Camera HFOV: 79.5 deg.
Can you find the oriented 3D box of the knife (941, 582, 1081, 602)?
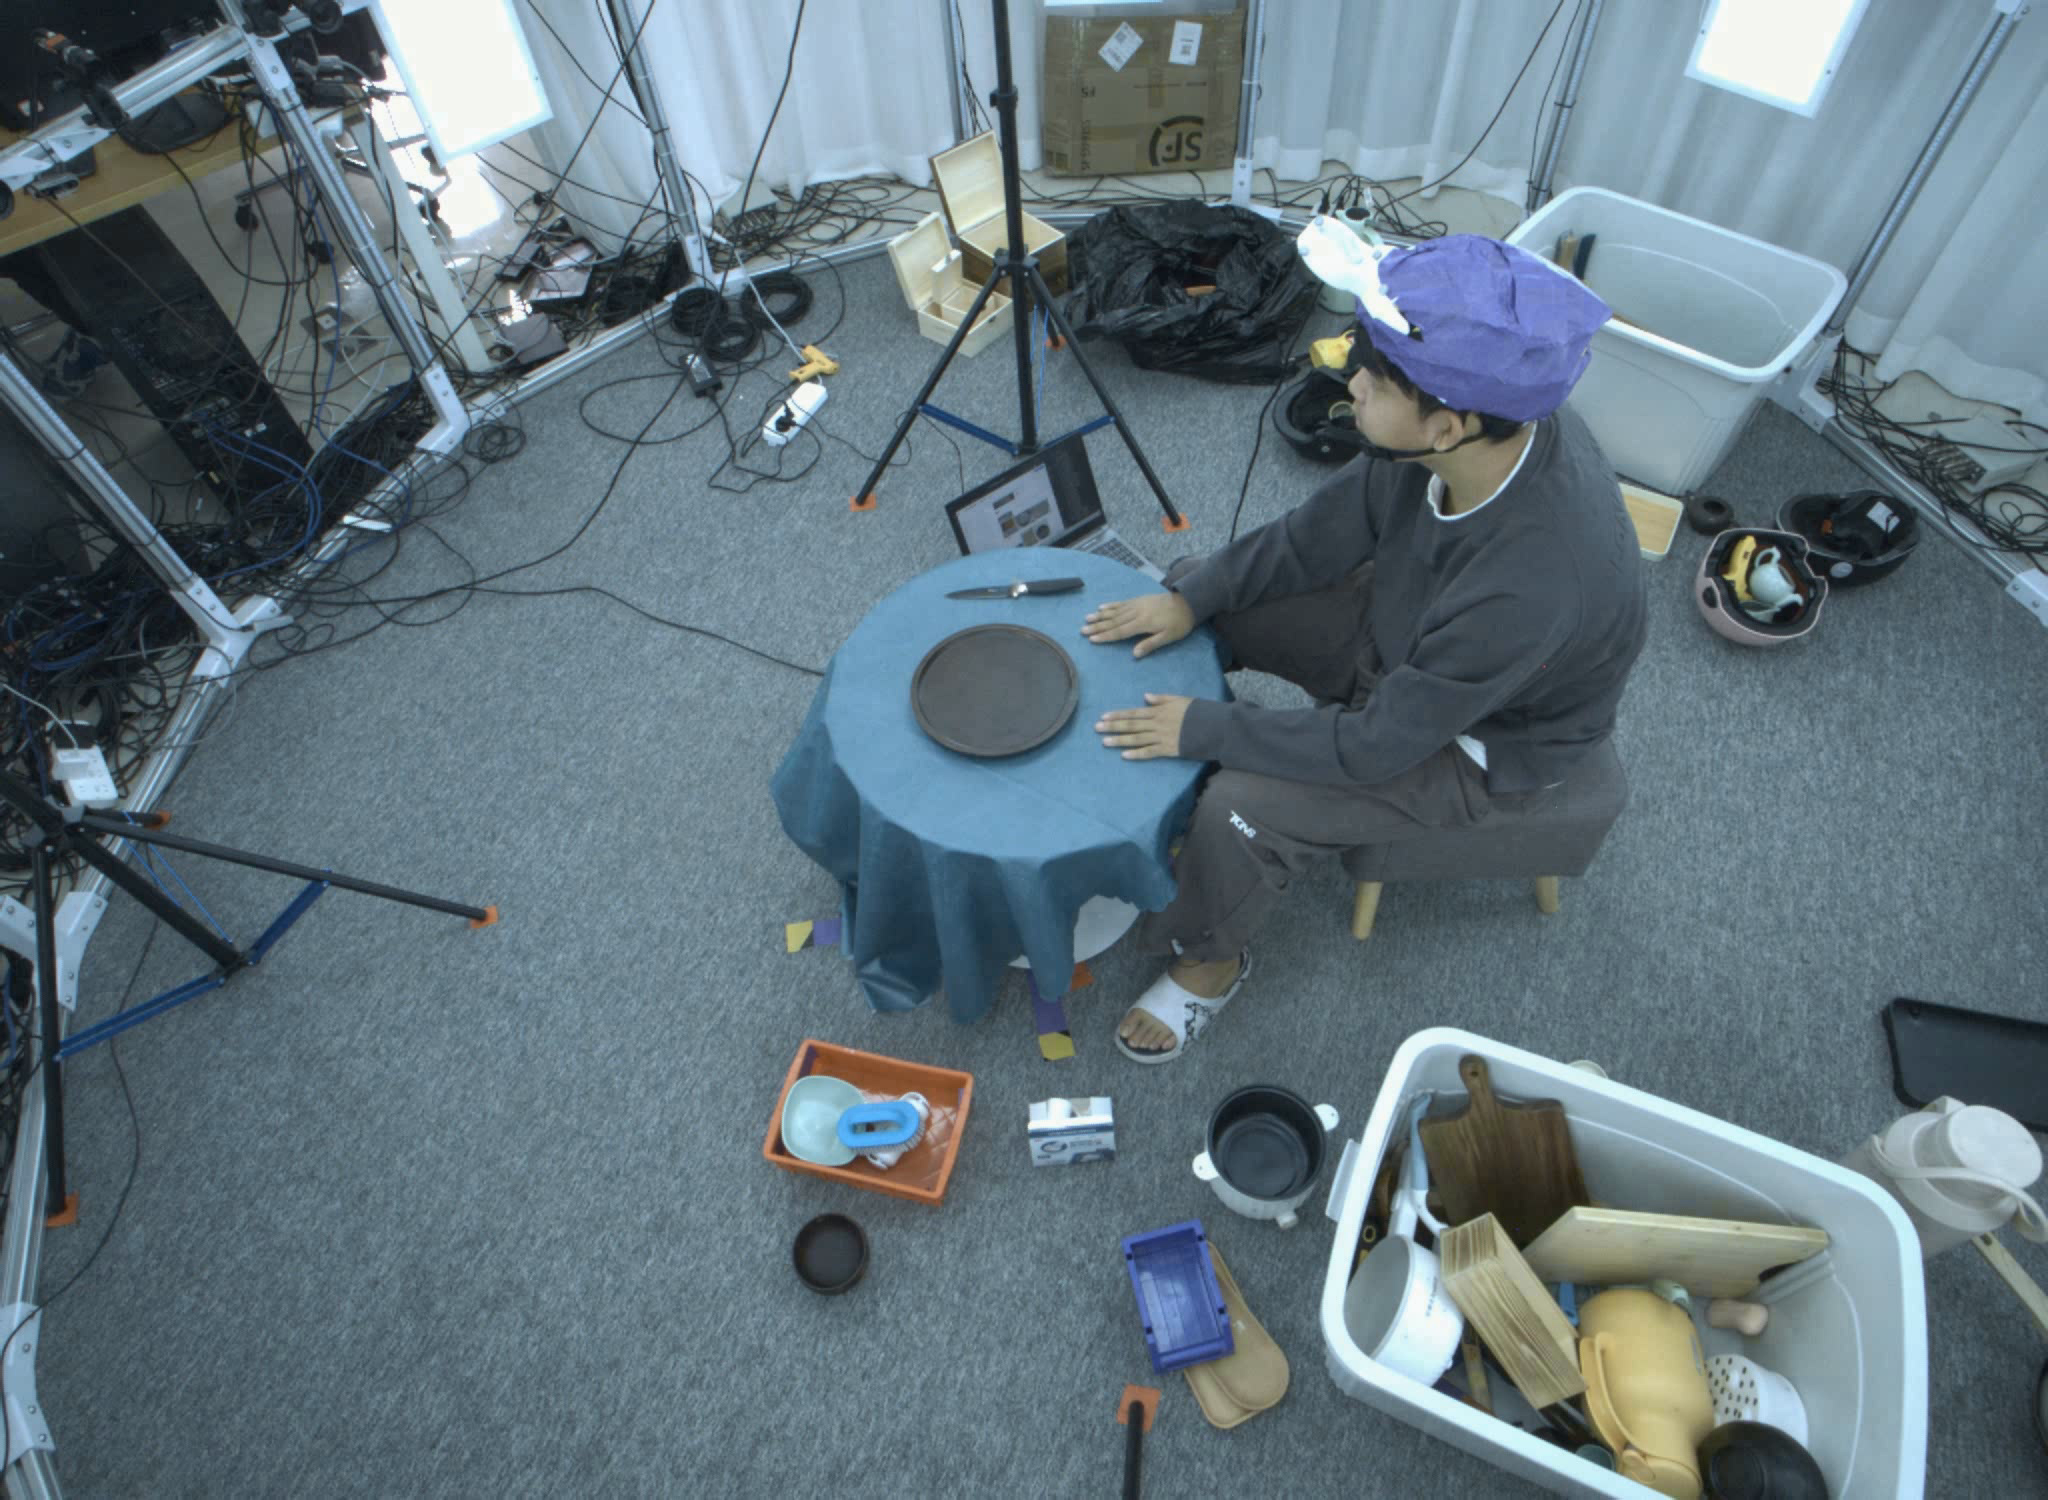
[{"bbox_3d":[-0.022,-0.252,1.960,0.225,0.017,0.026,-4,60,0],"label":"knife"}]

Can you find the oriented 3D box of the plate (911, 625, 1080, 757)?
[{"bbox_3d":[-0.043,-0.090,1.838,0.255,0.029,0.252,0,53,1],"label":"plate"}]
